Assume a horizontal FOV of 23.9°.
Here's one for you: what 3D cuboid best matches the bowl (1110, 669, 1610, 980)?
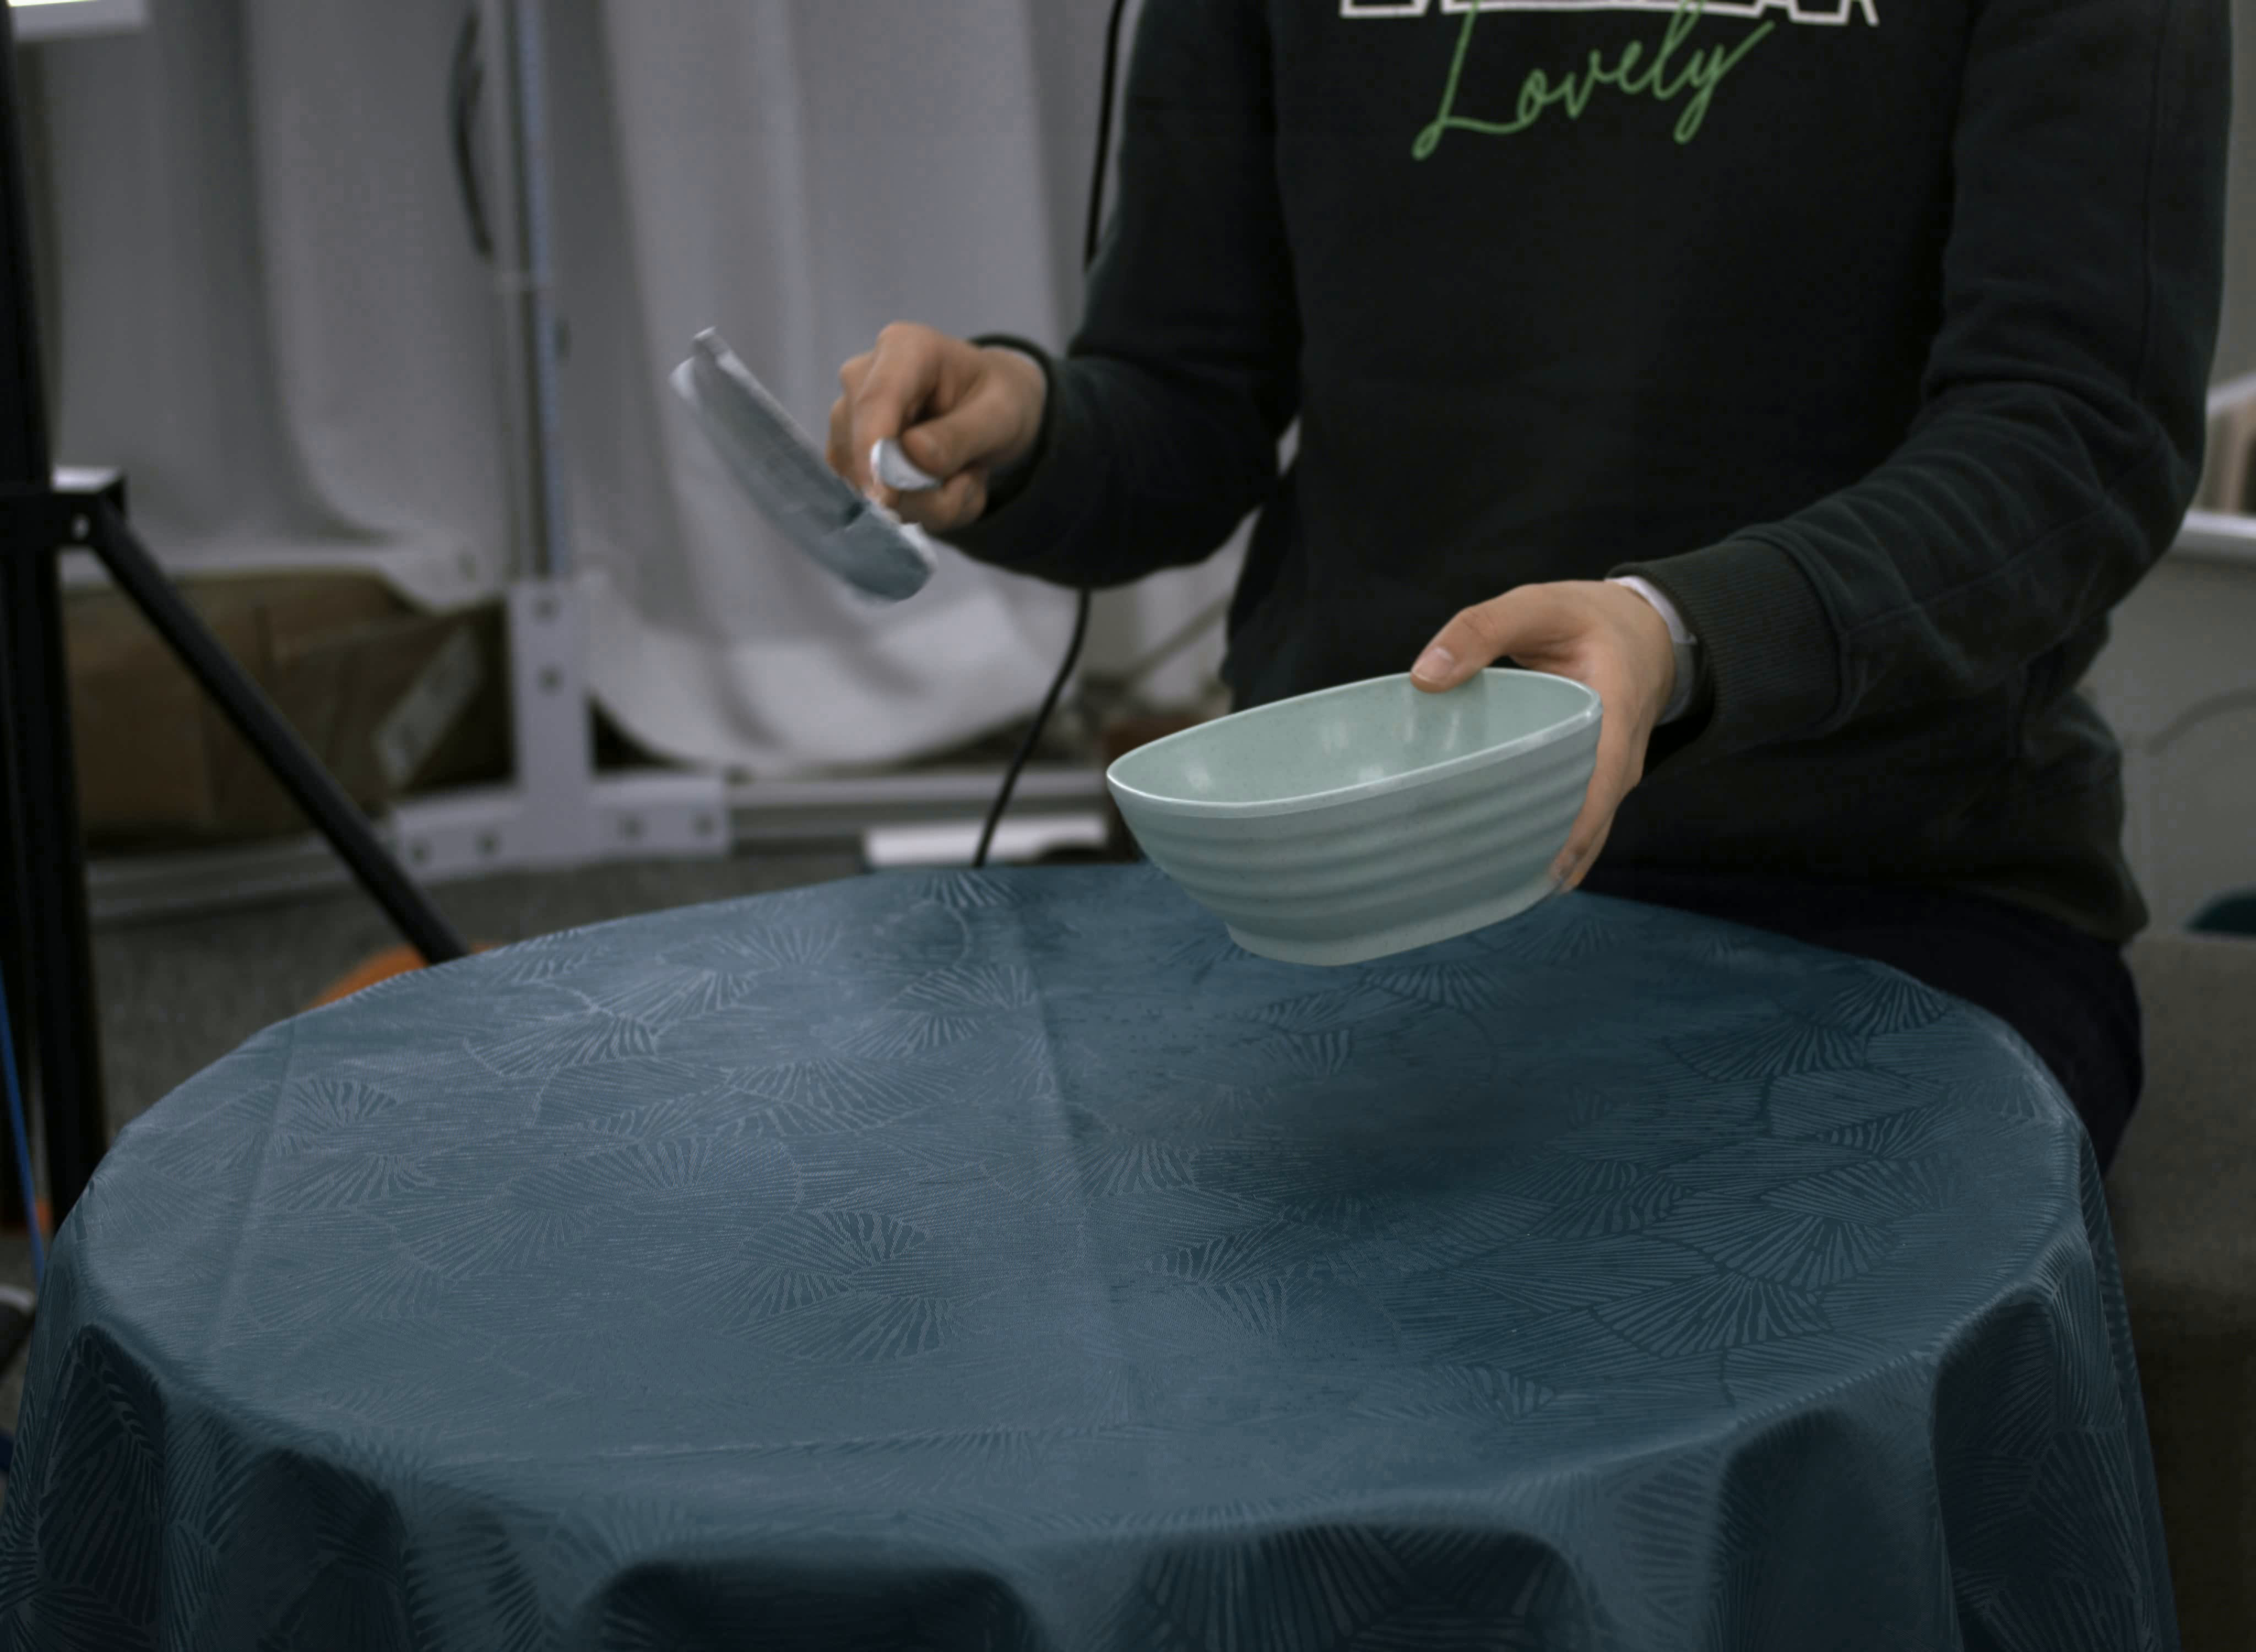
[{"bbox_3d":[0.071,0.003,1.562,0.151,0.058,0.152,-10,14,1],"label":"bowl"}]

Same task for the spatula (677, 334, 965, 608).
[{"bbox_3d":[-0.081,-0.109,1.701,0.099,0.045,0.362,42,9,3],"label":"spatula"}]
